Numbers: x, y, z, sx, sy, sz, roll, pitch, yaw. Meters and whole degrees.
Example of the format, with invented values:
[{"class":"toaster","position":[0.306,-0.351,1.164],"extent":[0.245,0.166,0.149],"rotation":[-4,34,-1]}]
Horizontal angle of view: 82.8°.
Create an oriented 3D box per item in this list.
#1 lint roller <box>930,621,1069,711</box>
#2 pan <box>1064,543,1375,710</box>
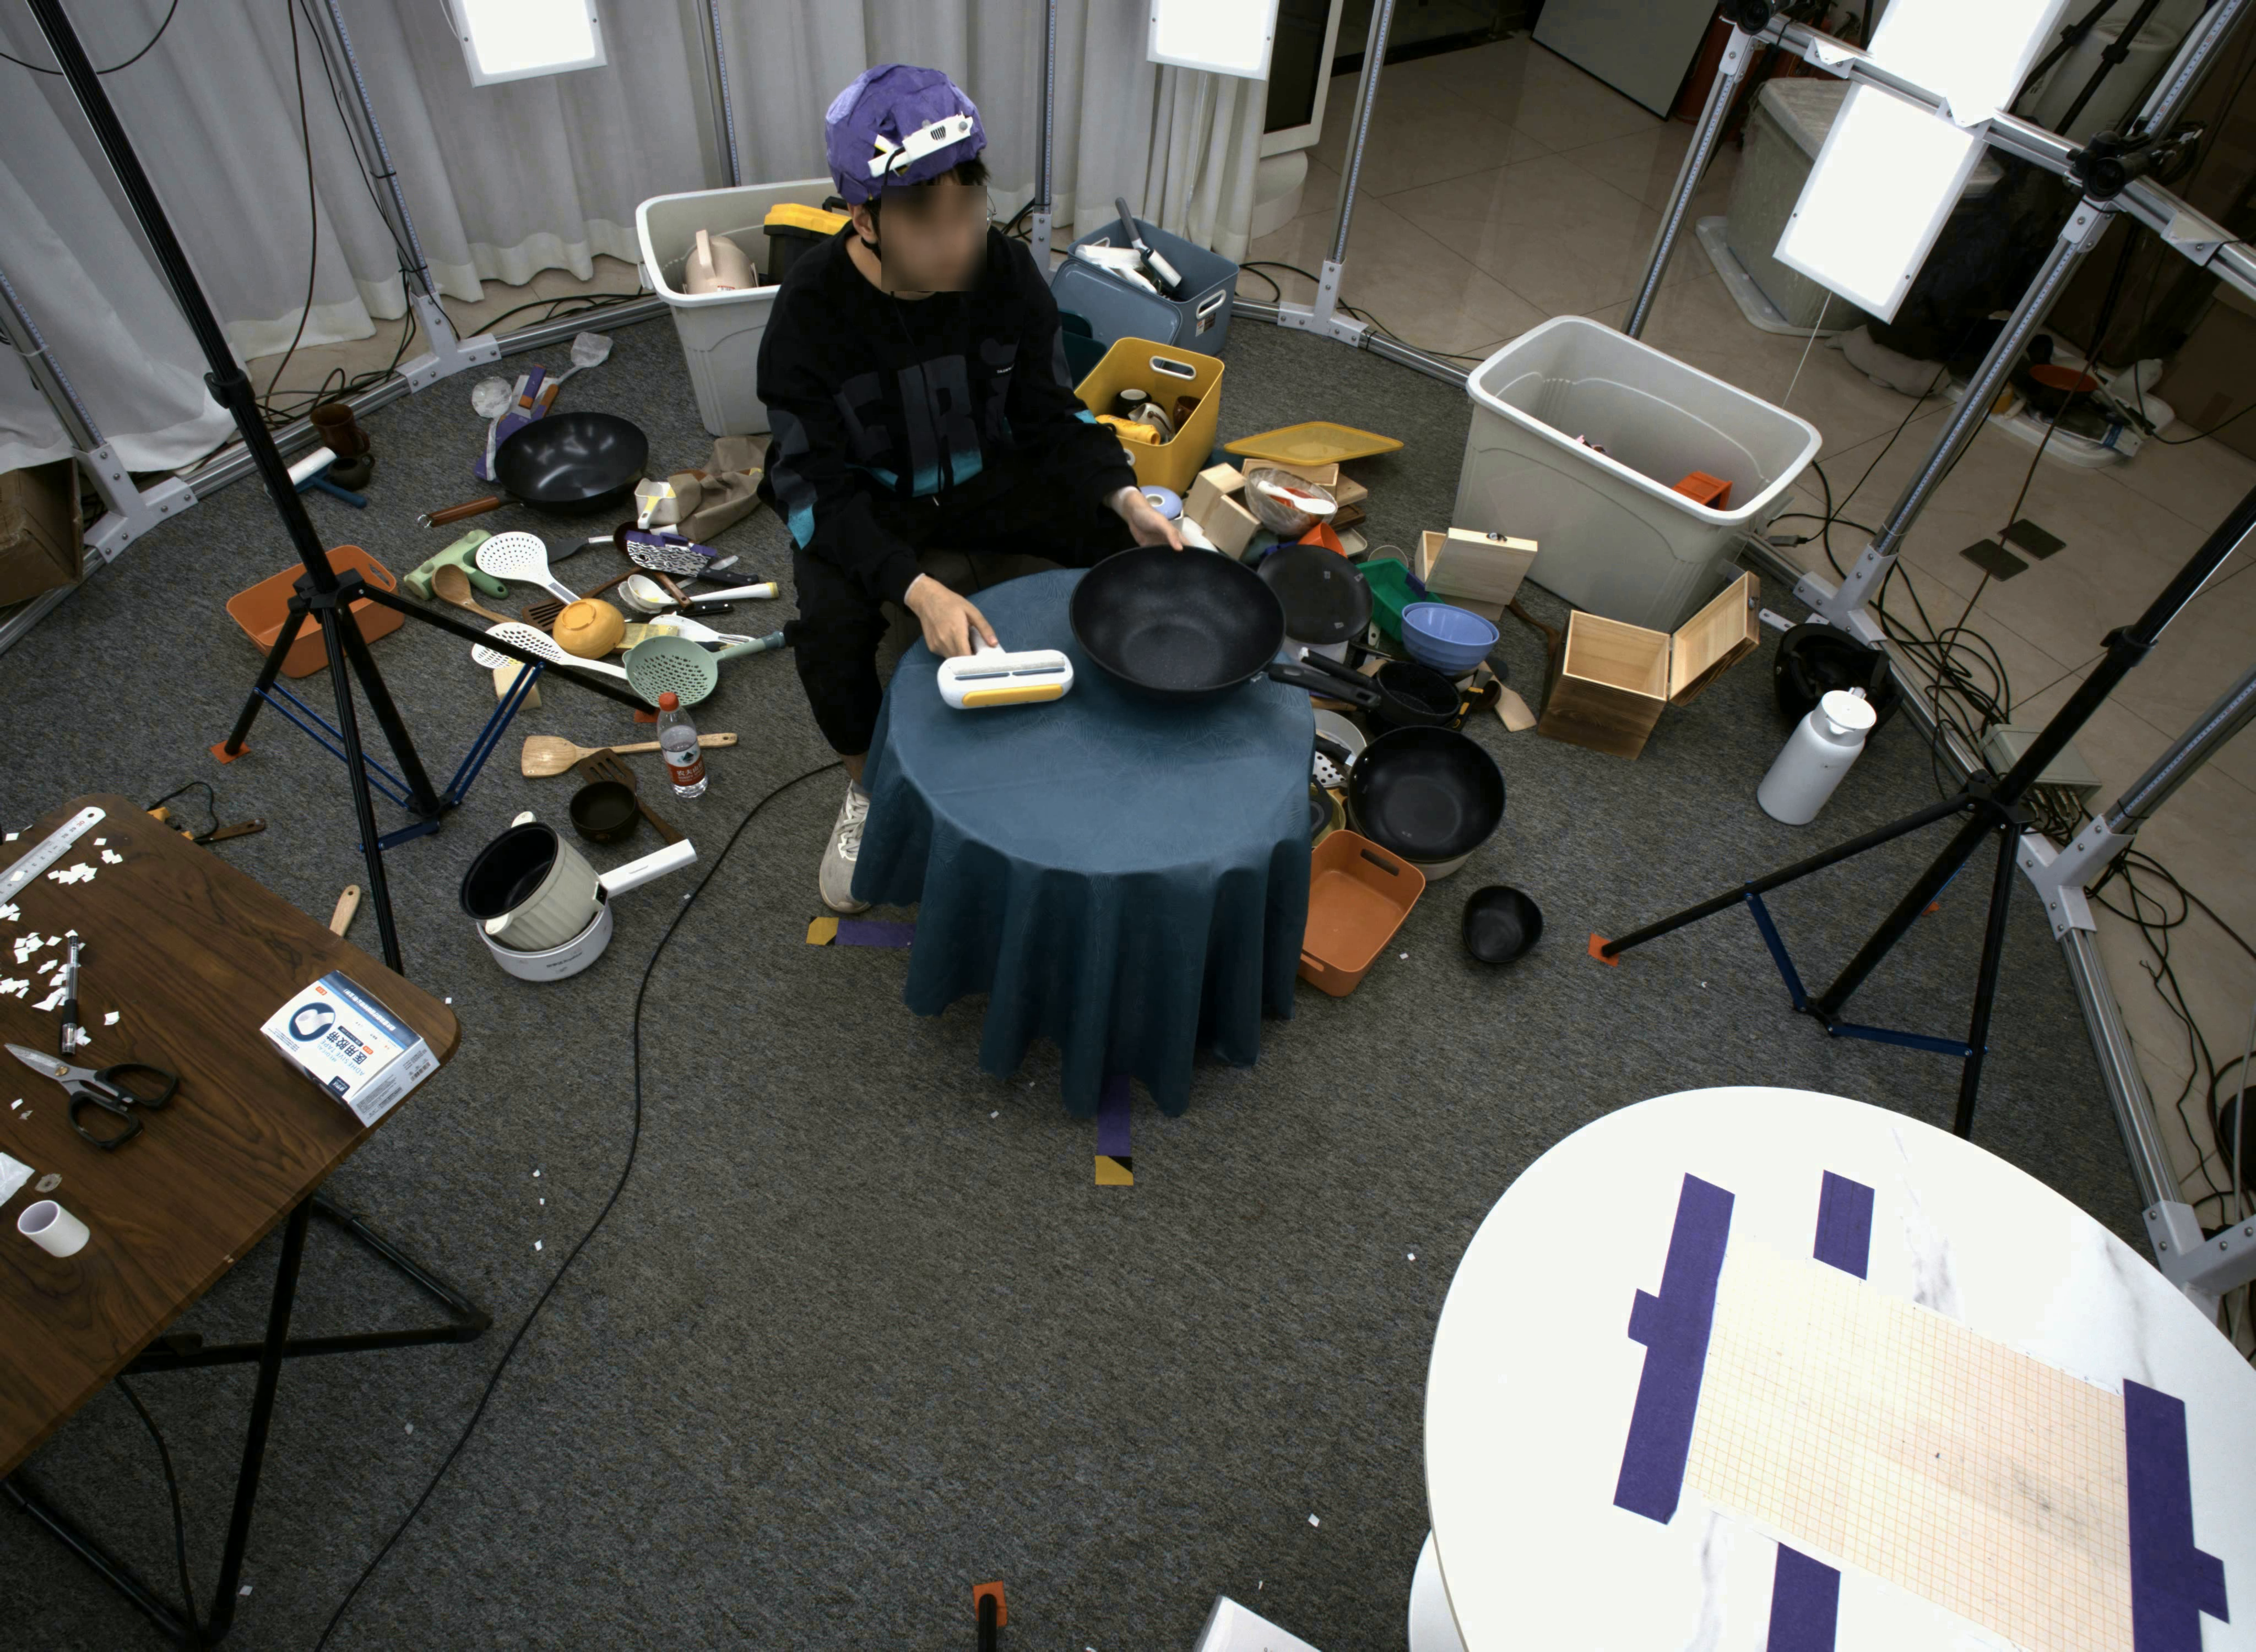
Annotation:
[{"class":"lint roller","position":[-0.194,-0.240,1.820],"extent":[0.192,0.072,0.197],"rotation":[-8,48,-17]},{"class":"pan","position":[0.131,-0.245,1.820],"extent":[0.482,0.109,0.314],"rotation":[30,56,21]}]
